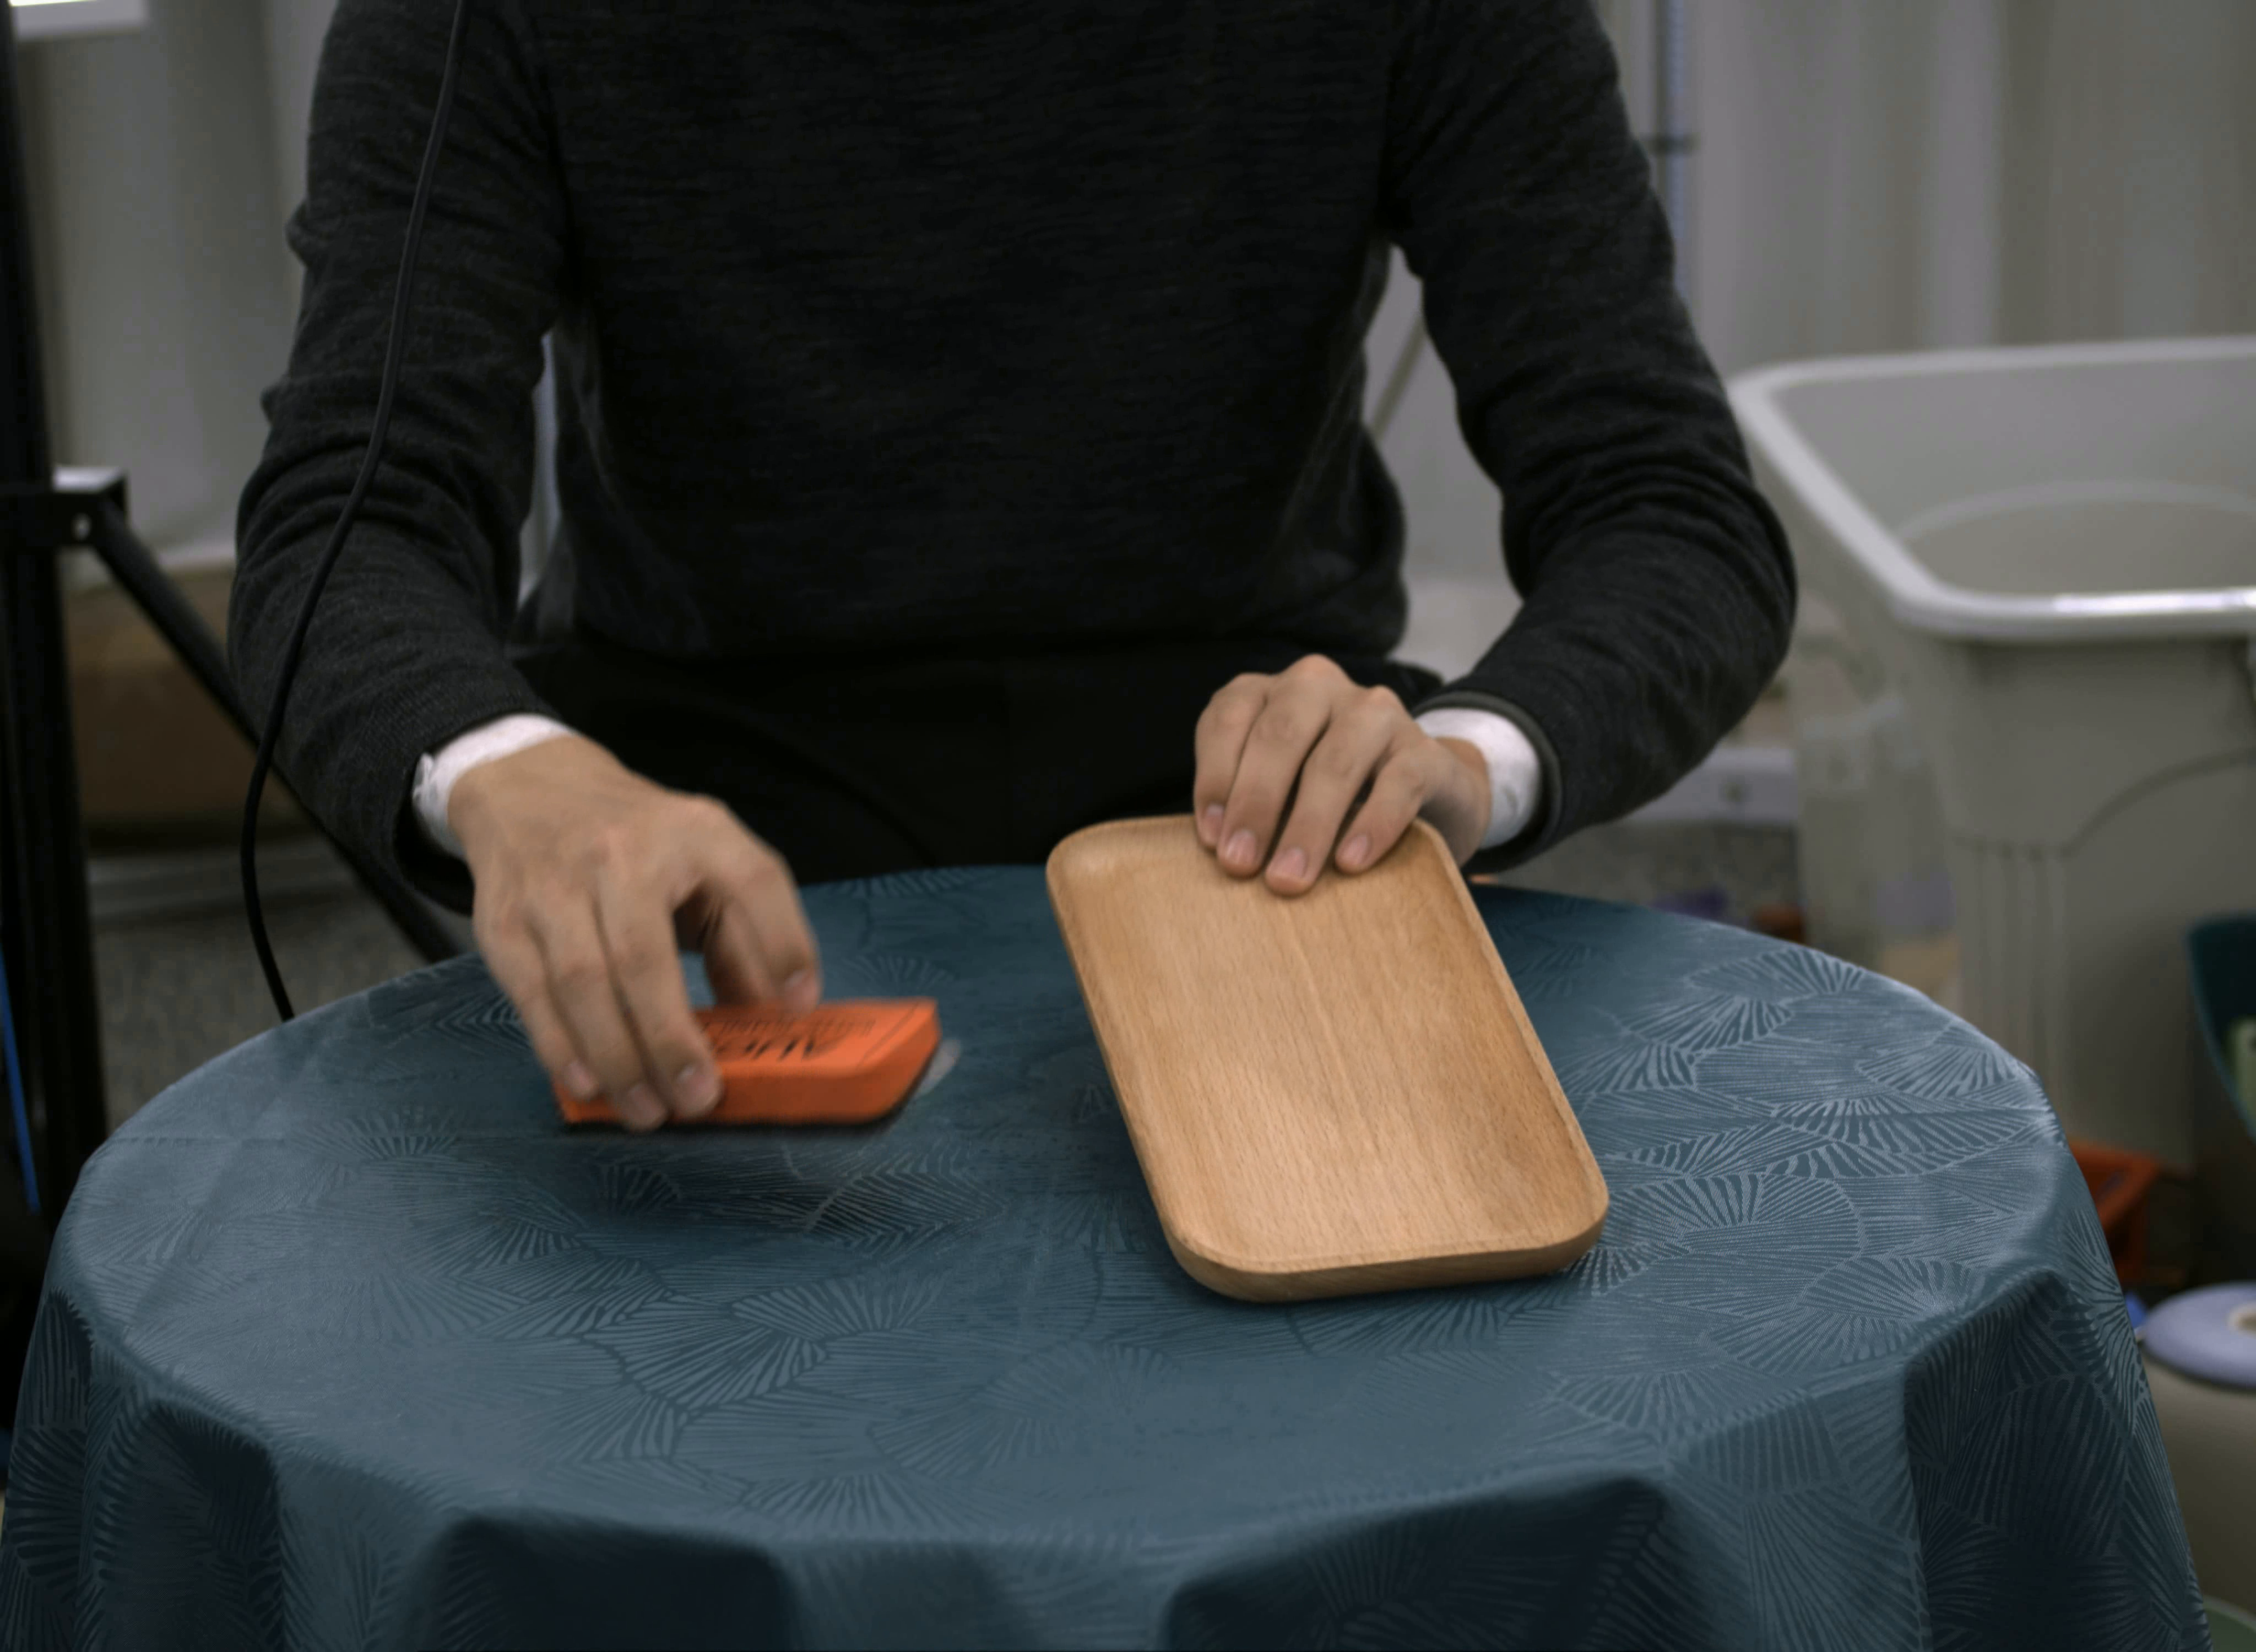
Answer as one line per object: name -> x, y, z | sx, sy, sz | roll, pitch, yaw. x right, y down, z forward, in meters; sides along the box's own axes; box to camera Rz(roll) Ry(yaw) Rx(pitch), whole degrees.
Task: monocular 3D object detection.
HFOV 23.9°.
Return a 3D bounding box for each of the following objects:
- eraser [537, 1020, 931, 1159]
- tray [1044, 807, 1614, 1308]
eraser -> -0.114, 0.077, 1.556 | 0.109, 0.023, 0.058 | 1, 15, 25
tray -> 0.055, 0.065, 1.565 | 0.129, 0.023, 0.254 | -3, 29, -9
